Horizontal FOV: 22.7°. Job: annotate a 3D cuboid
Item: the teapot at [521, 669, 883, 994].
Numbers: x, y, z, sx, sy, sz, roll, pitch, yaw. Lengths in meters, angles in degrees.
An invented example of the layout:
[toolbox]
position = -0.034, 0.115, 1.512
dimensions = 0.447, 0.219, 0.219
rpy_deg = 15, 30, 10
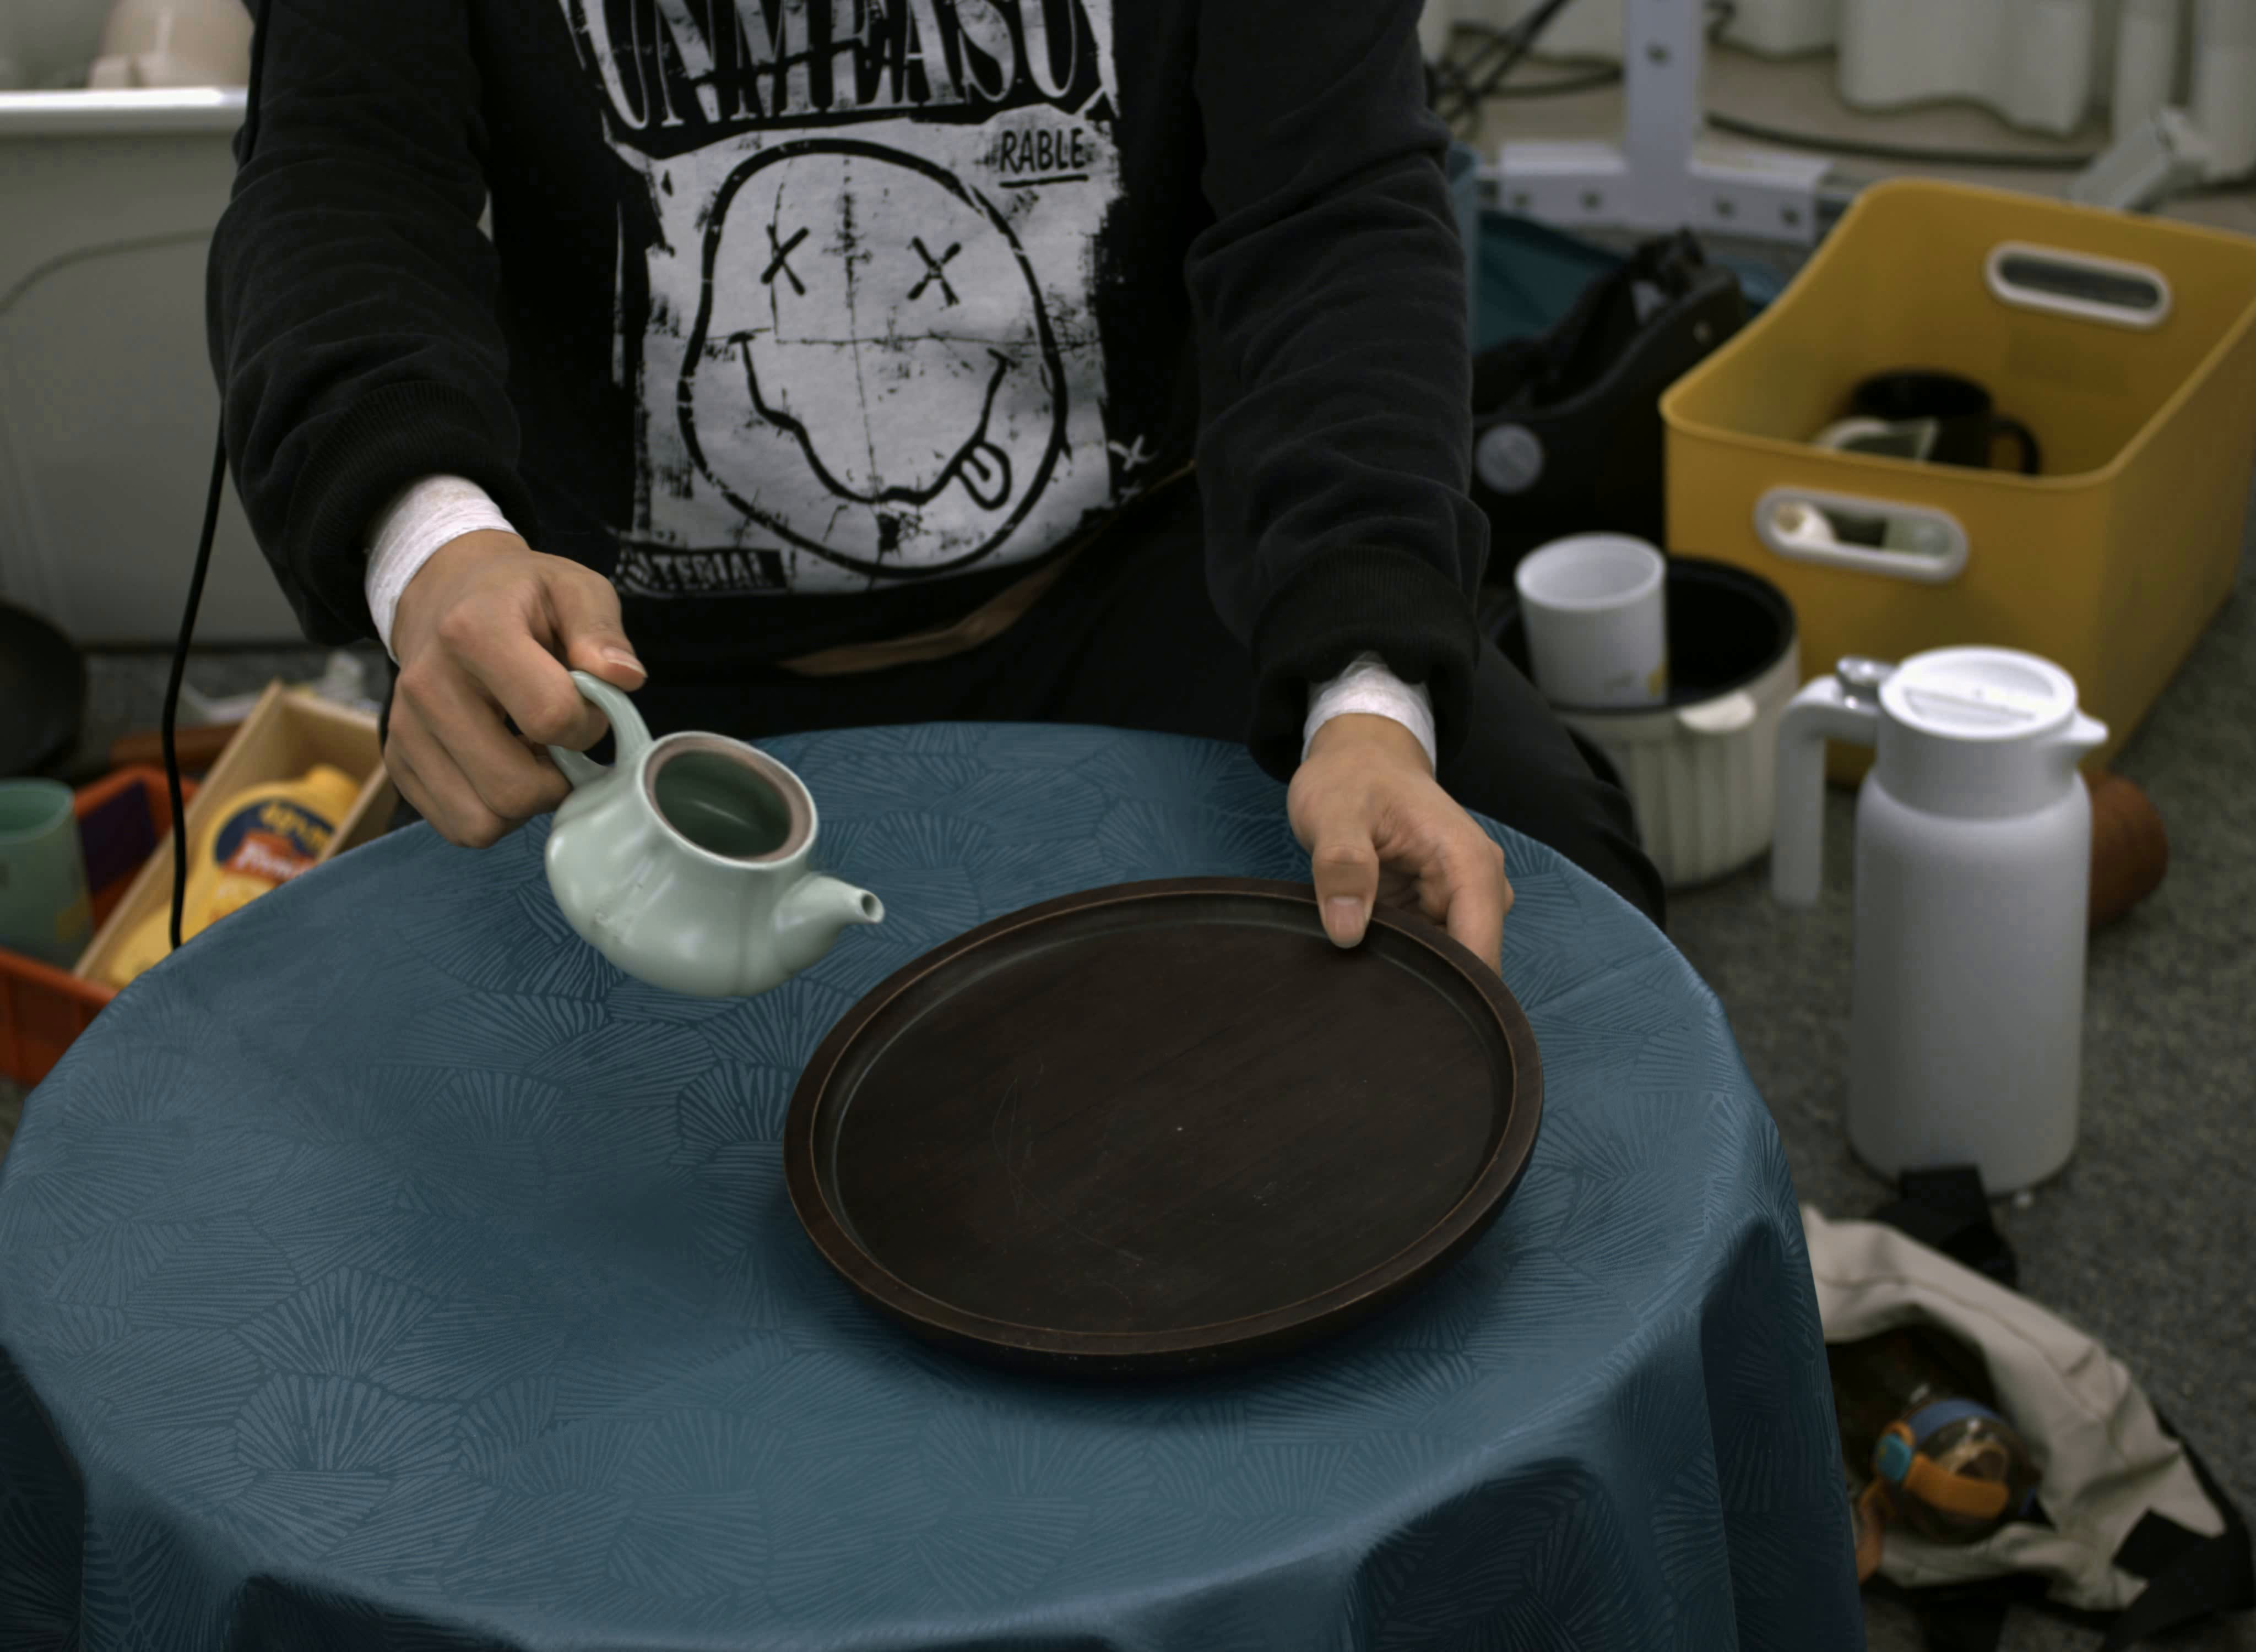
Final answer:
[teapot]
position = -0.144, 0.004, 1.822
dimensions = 0.137, 0.060, 0.098
rpy_deg = 37, 39, 10

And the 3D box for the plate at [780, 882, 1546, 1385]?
[plate]
position = 0.012, 0.099, 1.844
dimensions = 0.253, 0.028, 0.259
rpy_deg = -5, 35, 4
